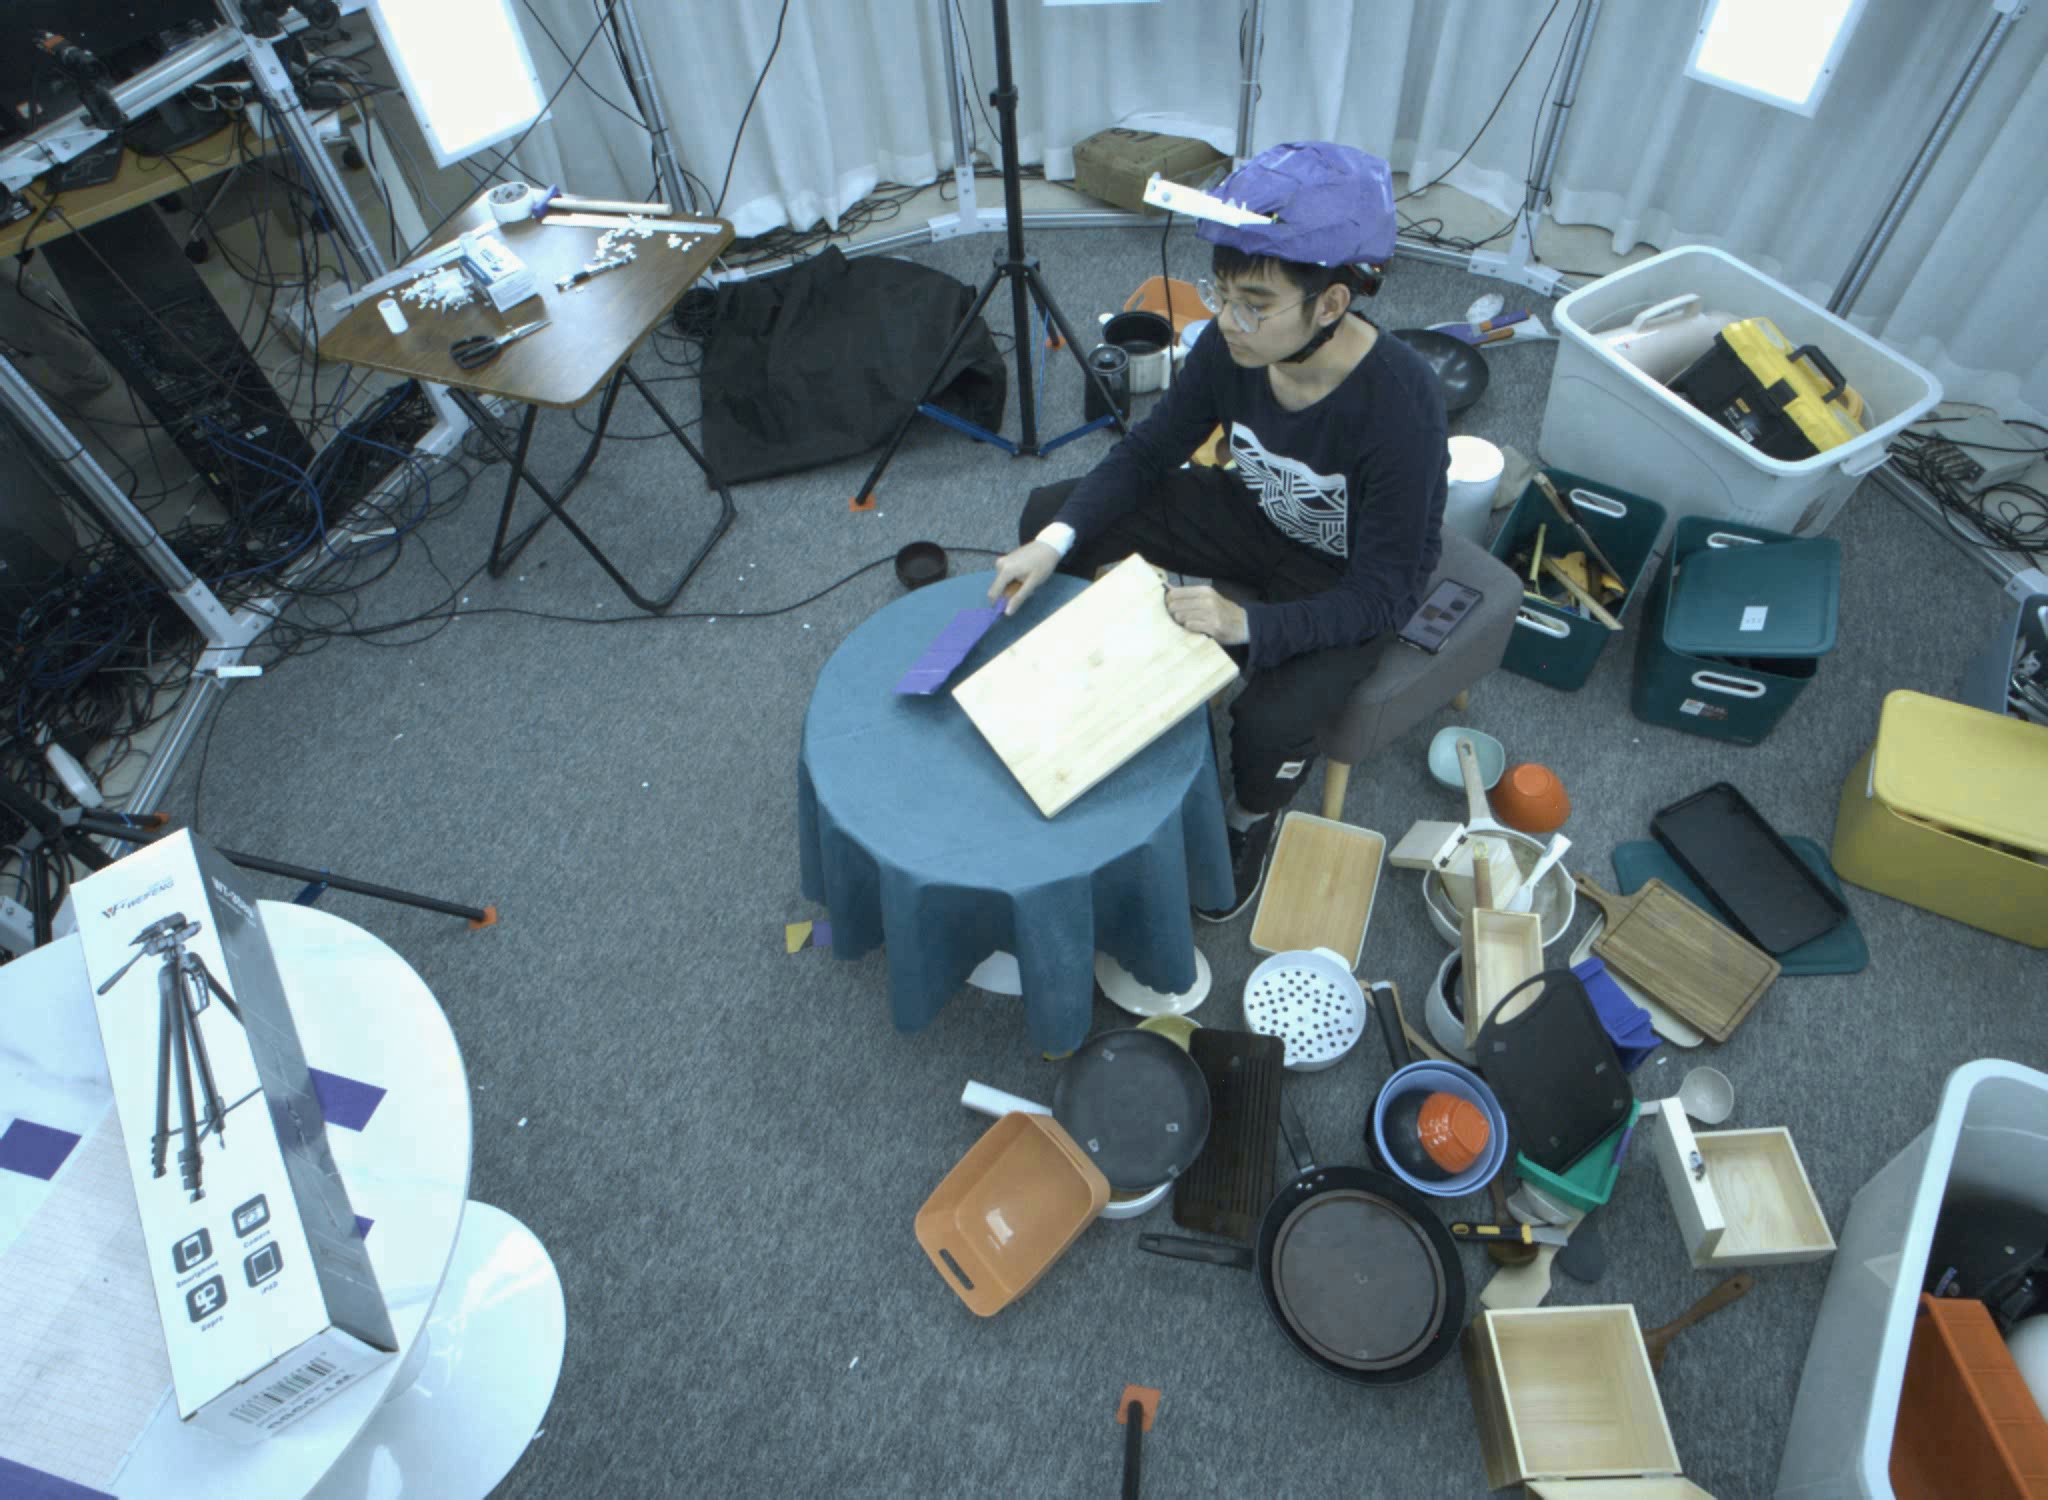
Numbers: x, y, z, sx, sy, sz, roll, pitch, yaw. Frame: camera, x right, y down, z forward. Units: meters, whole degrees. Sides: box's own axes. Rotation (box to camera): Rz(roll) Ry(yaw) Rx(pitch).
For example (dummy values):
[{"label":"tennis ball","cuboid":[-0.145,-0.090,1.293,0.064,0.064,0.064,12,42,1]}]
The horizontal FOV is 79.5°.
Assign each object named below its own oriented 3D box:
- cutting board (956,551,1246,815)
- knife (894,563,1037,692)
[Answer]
[{"label":"cutting board","cuboid":[0.105,-0.100,1.763,0.349,0.024,0.248,-37,74,-3]},{"label":"knife","cuboid":[-0.091,-0.191,1.886,0.101,0.033,0.316,5,42,36]}]
